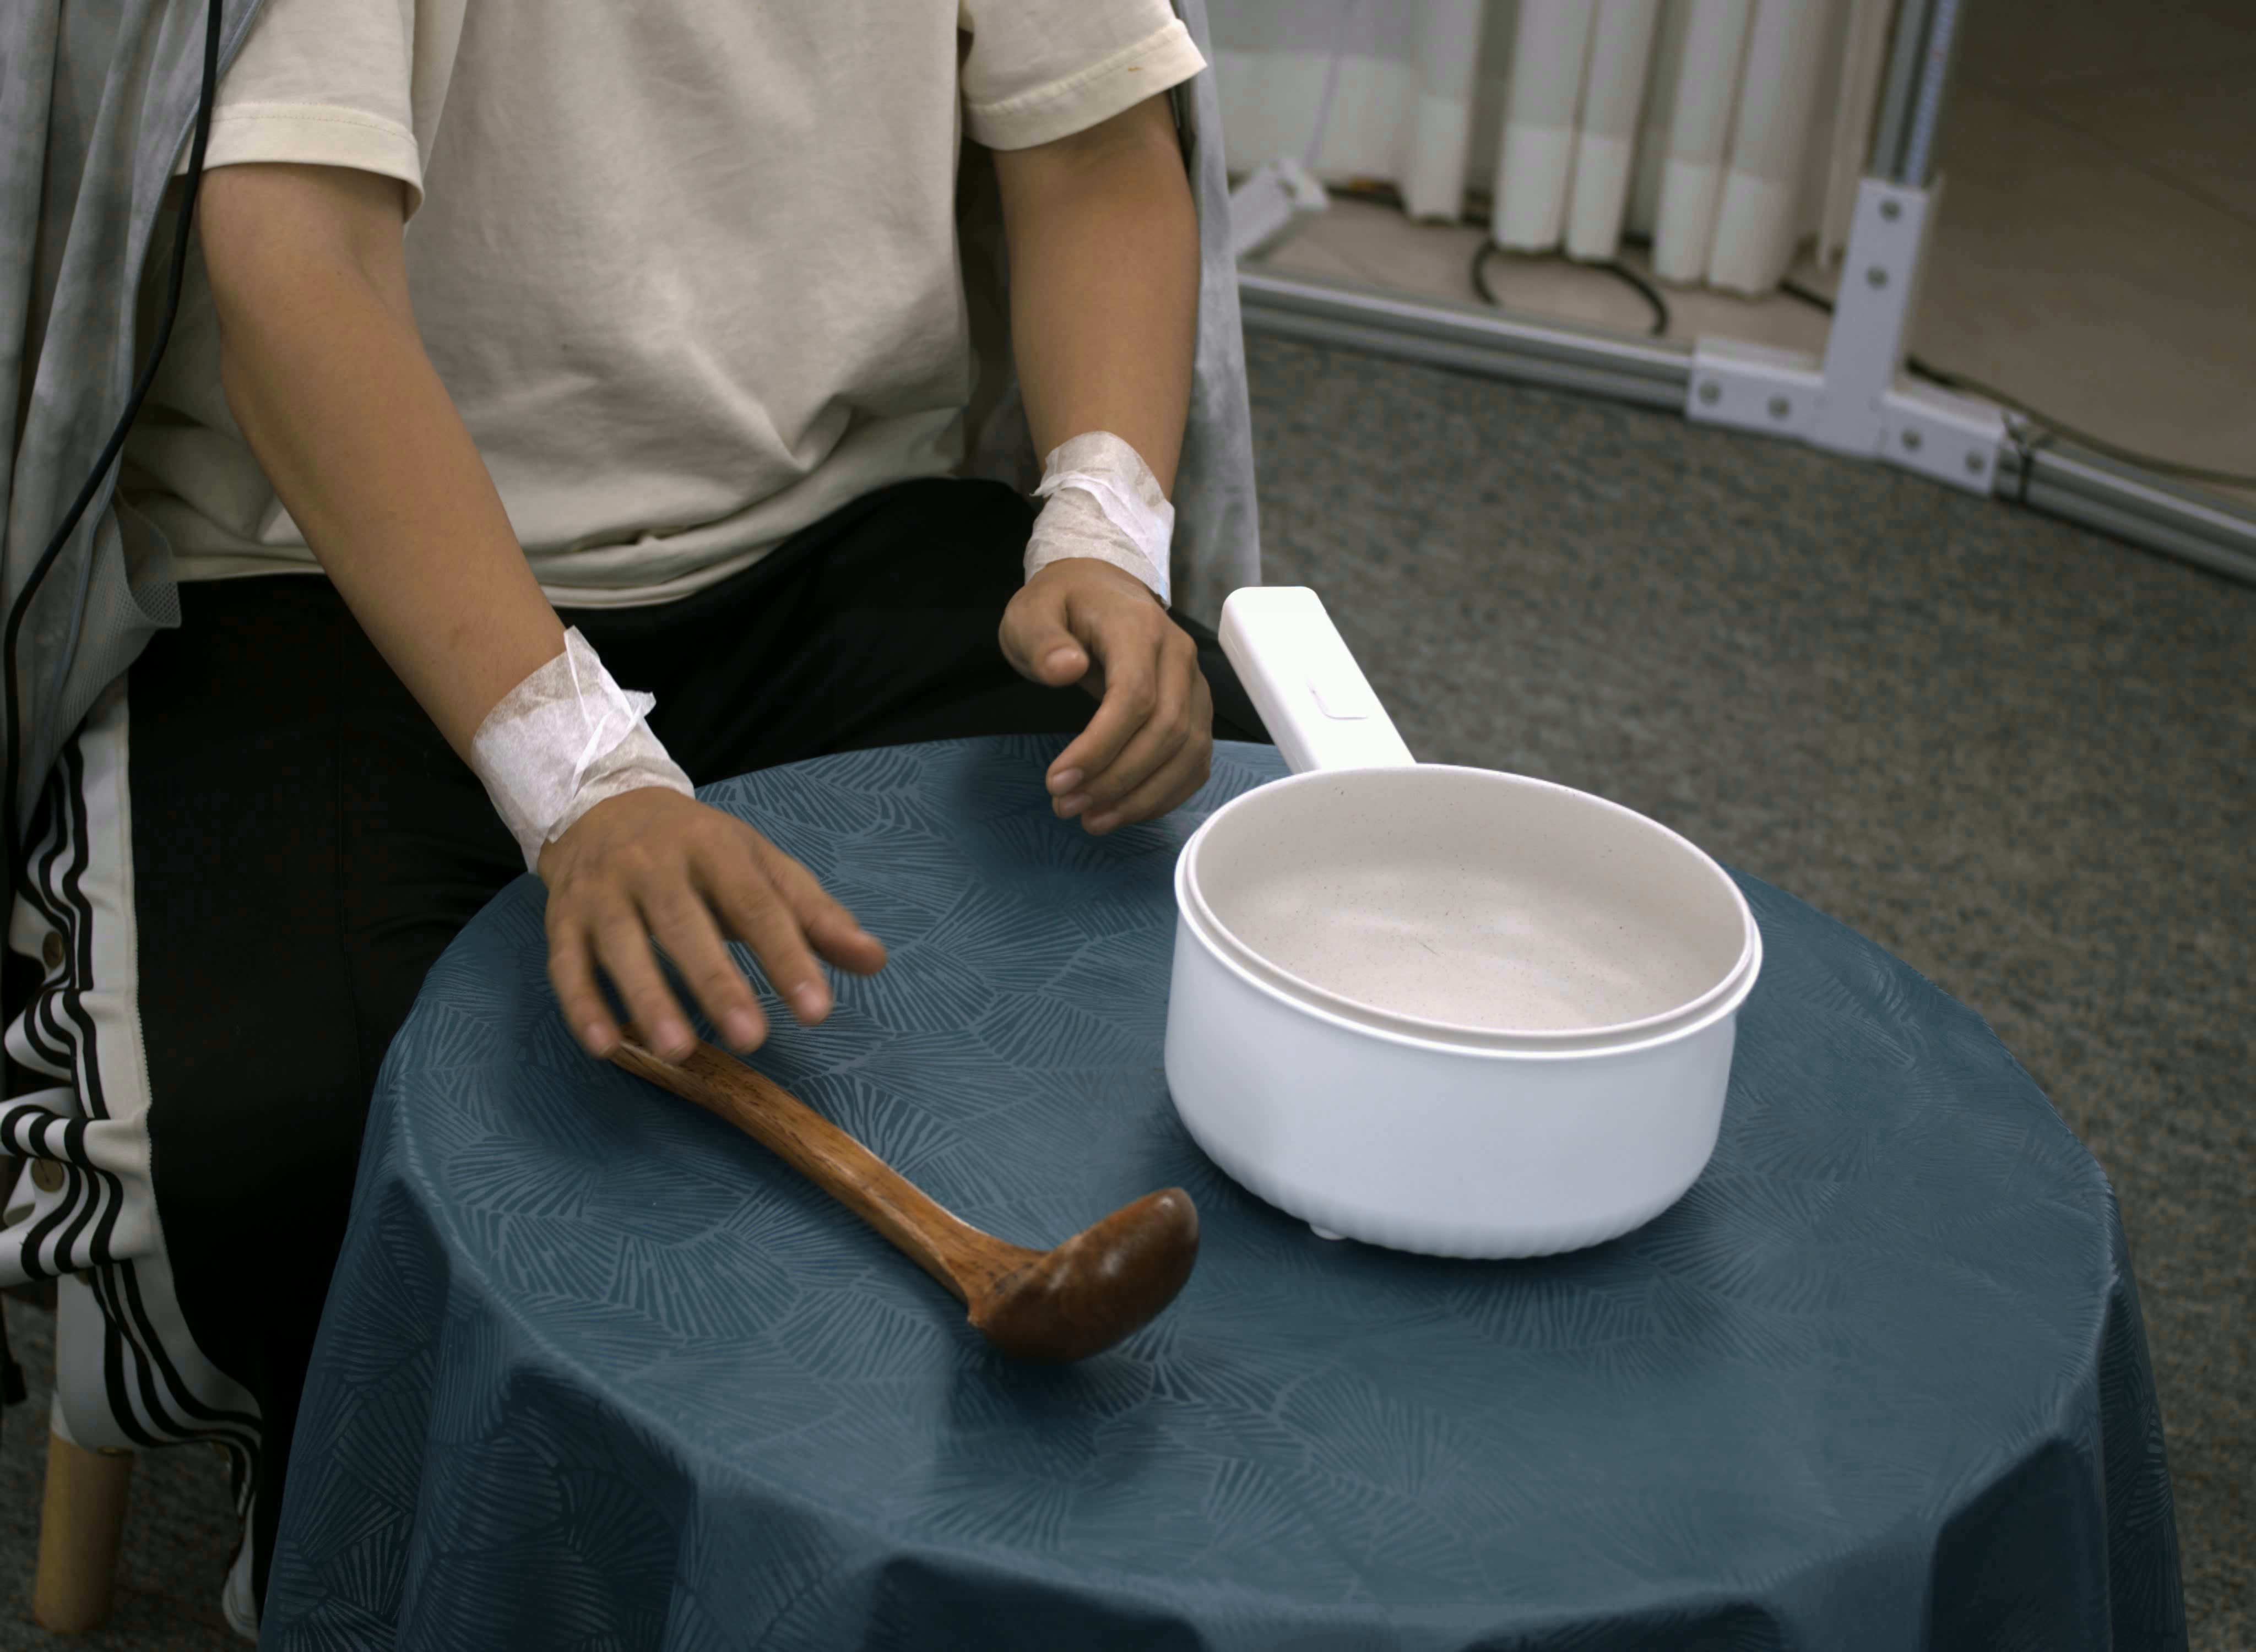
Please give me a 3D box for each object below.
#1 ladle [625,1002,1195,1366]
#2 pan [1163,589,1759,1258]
[{"bbox_3d":[-0.083,0.098,1.748,0.081,0.076,0.276,-18,37,-35],"label":"ladle"},{"bbox_3d":[0.093,0.032,1.897,0.200,0.102,0.358,-1,27,-14],"label":"pan"}]
